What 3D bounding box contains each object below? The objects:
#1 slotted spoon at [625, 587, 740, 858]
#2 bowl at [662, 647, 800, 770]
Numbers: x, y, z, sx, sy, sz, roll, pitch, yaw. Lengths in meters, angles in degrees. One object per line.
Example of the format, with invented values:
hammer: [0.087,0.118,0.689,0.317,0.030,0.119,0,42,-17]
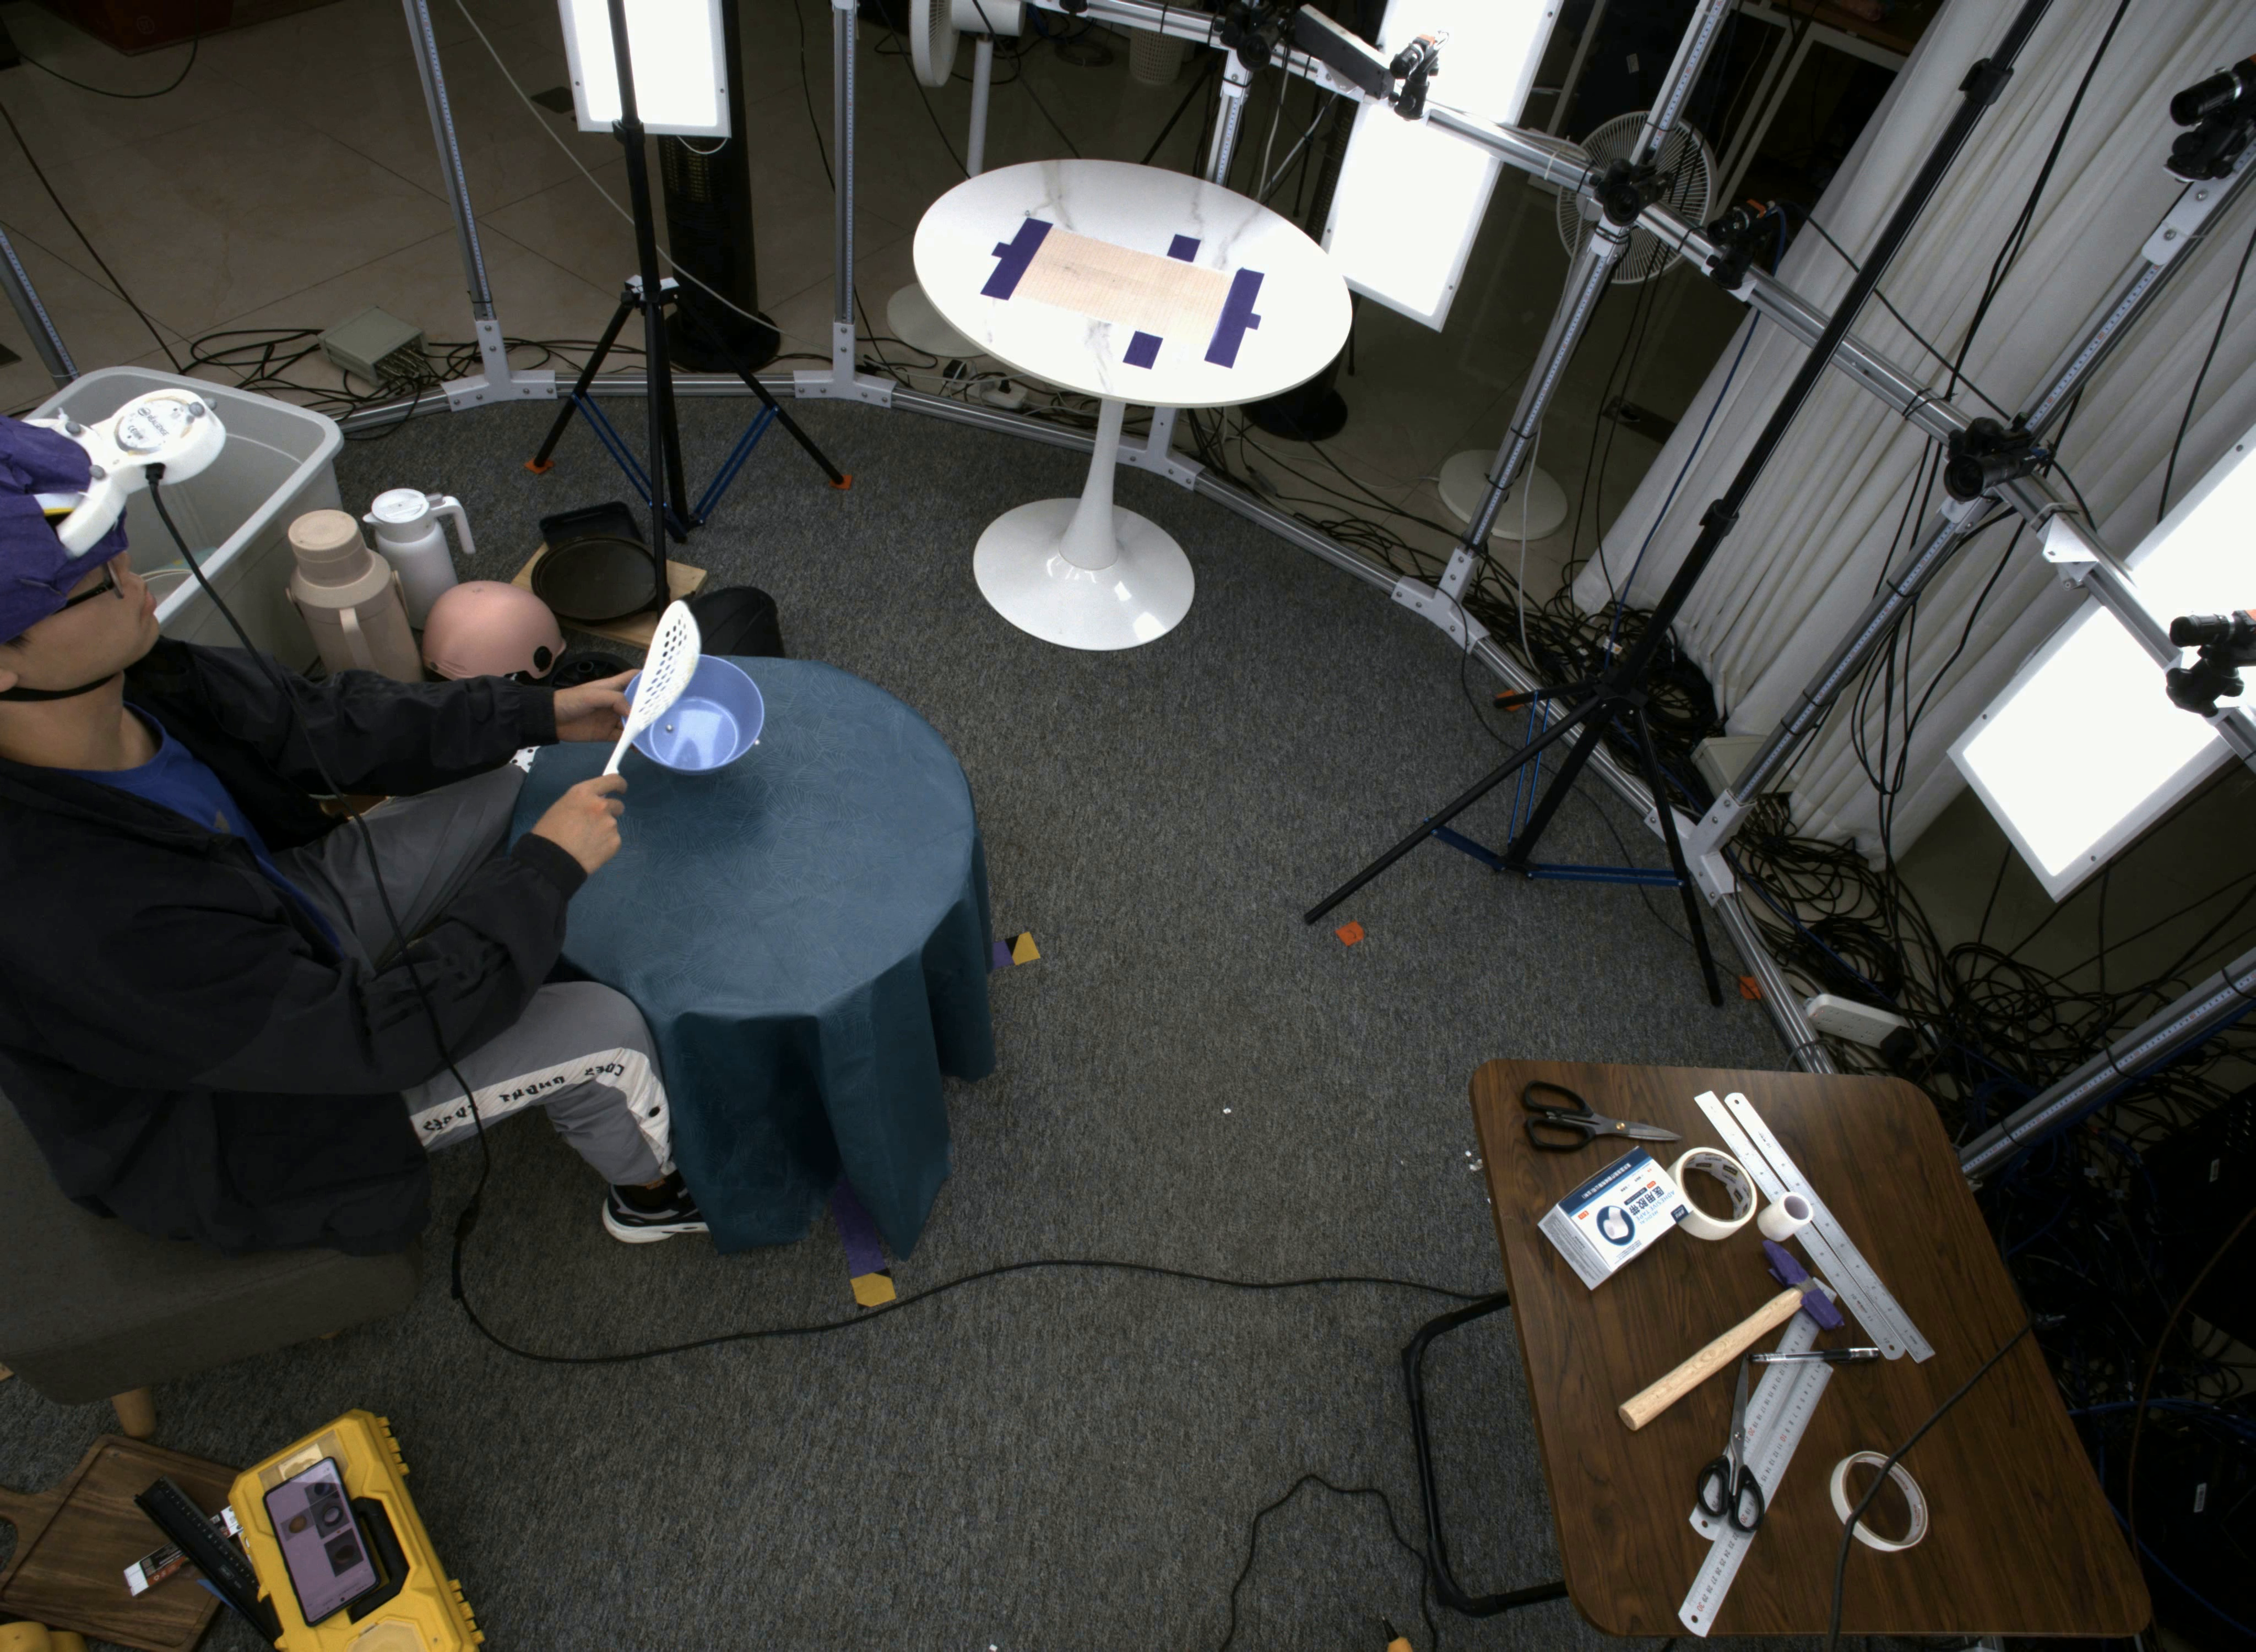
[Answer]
slotted spoon: [-0.534,-0.122,1.522,0.050,0.137,0.346,23,67,-4]
bowl: [-0.519,-0.142,1.687,0.176,0.071,0.174,8,61,-14]
